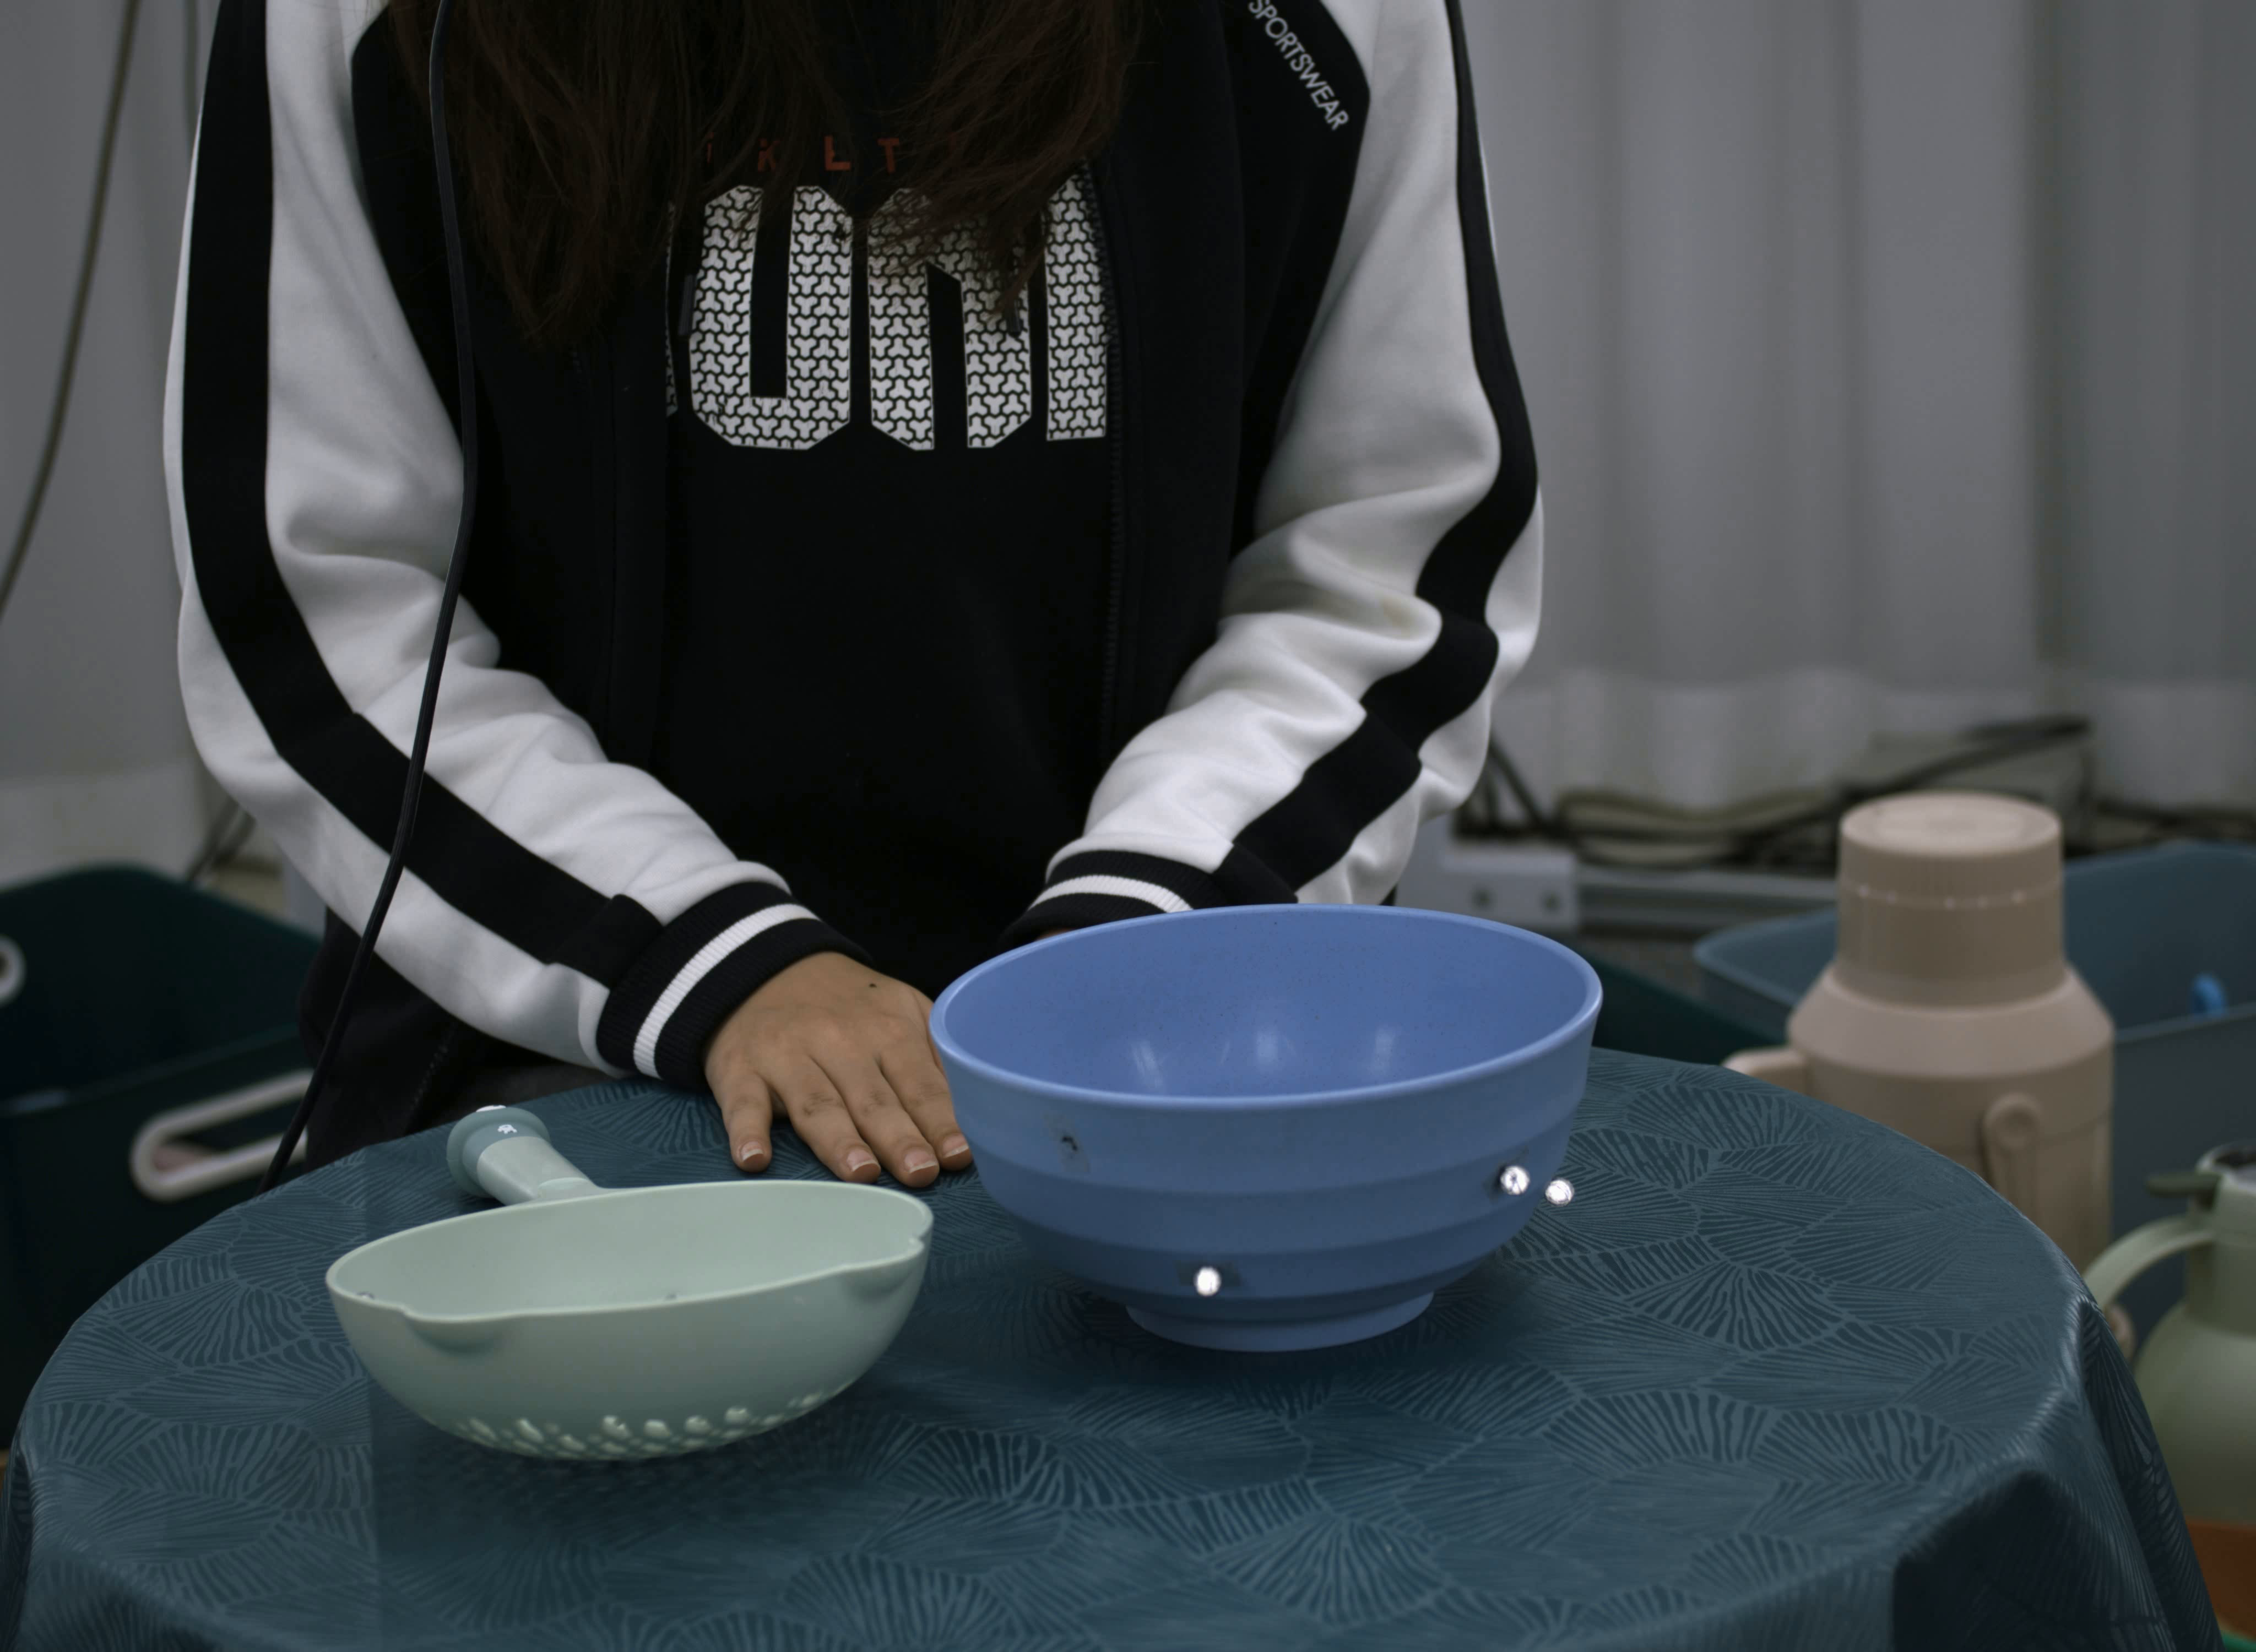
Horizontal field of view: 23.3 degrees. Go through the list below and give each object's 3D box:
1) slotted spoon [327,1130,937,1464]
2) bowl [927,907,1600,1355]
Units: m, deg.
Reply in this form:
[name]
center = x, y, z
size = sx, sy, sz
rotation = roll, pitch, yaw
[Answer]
[slotted spoon]
center = -0.162, 0.122, 1.608
size = 0.168, 0.075, 0.361
rotation = -6, 13, -15
[bowl]
center = 0.042, 0.095, 1.599
size = 0.196, 0.095, 0.198
rotation = -3, 14, 1
